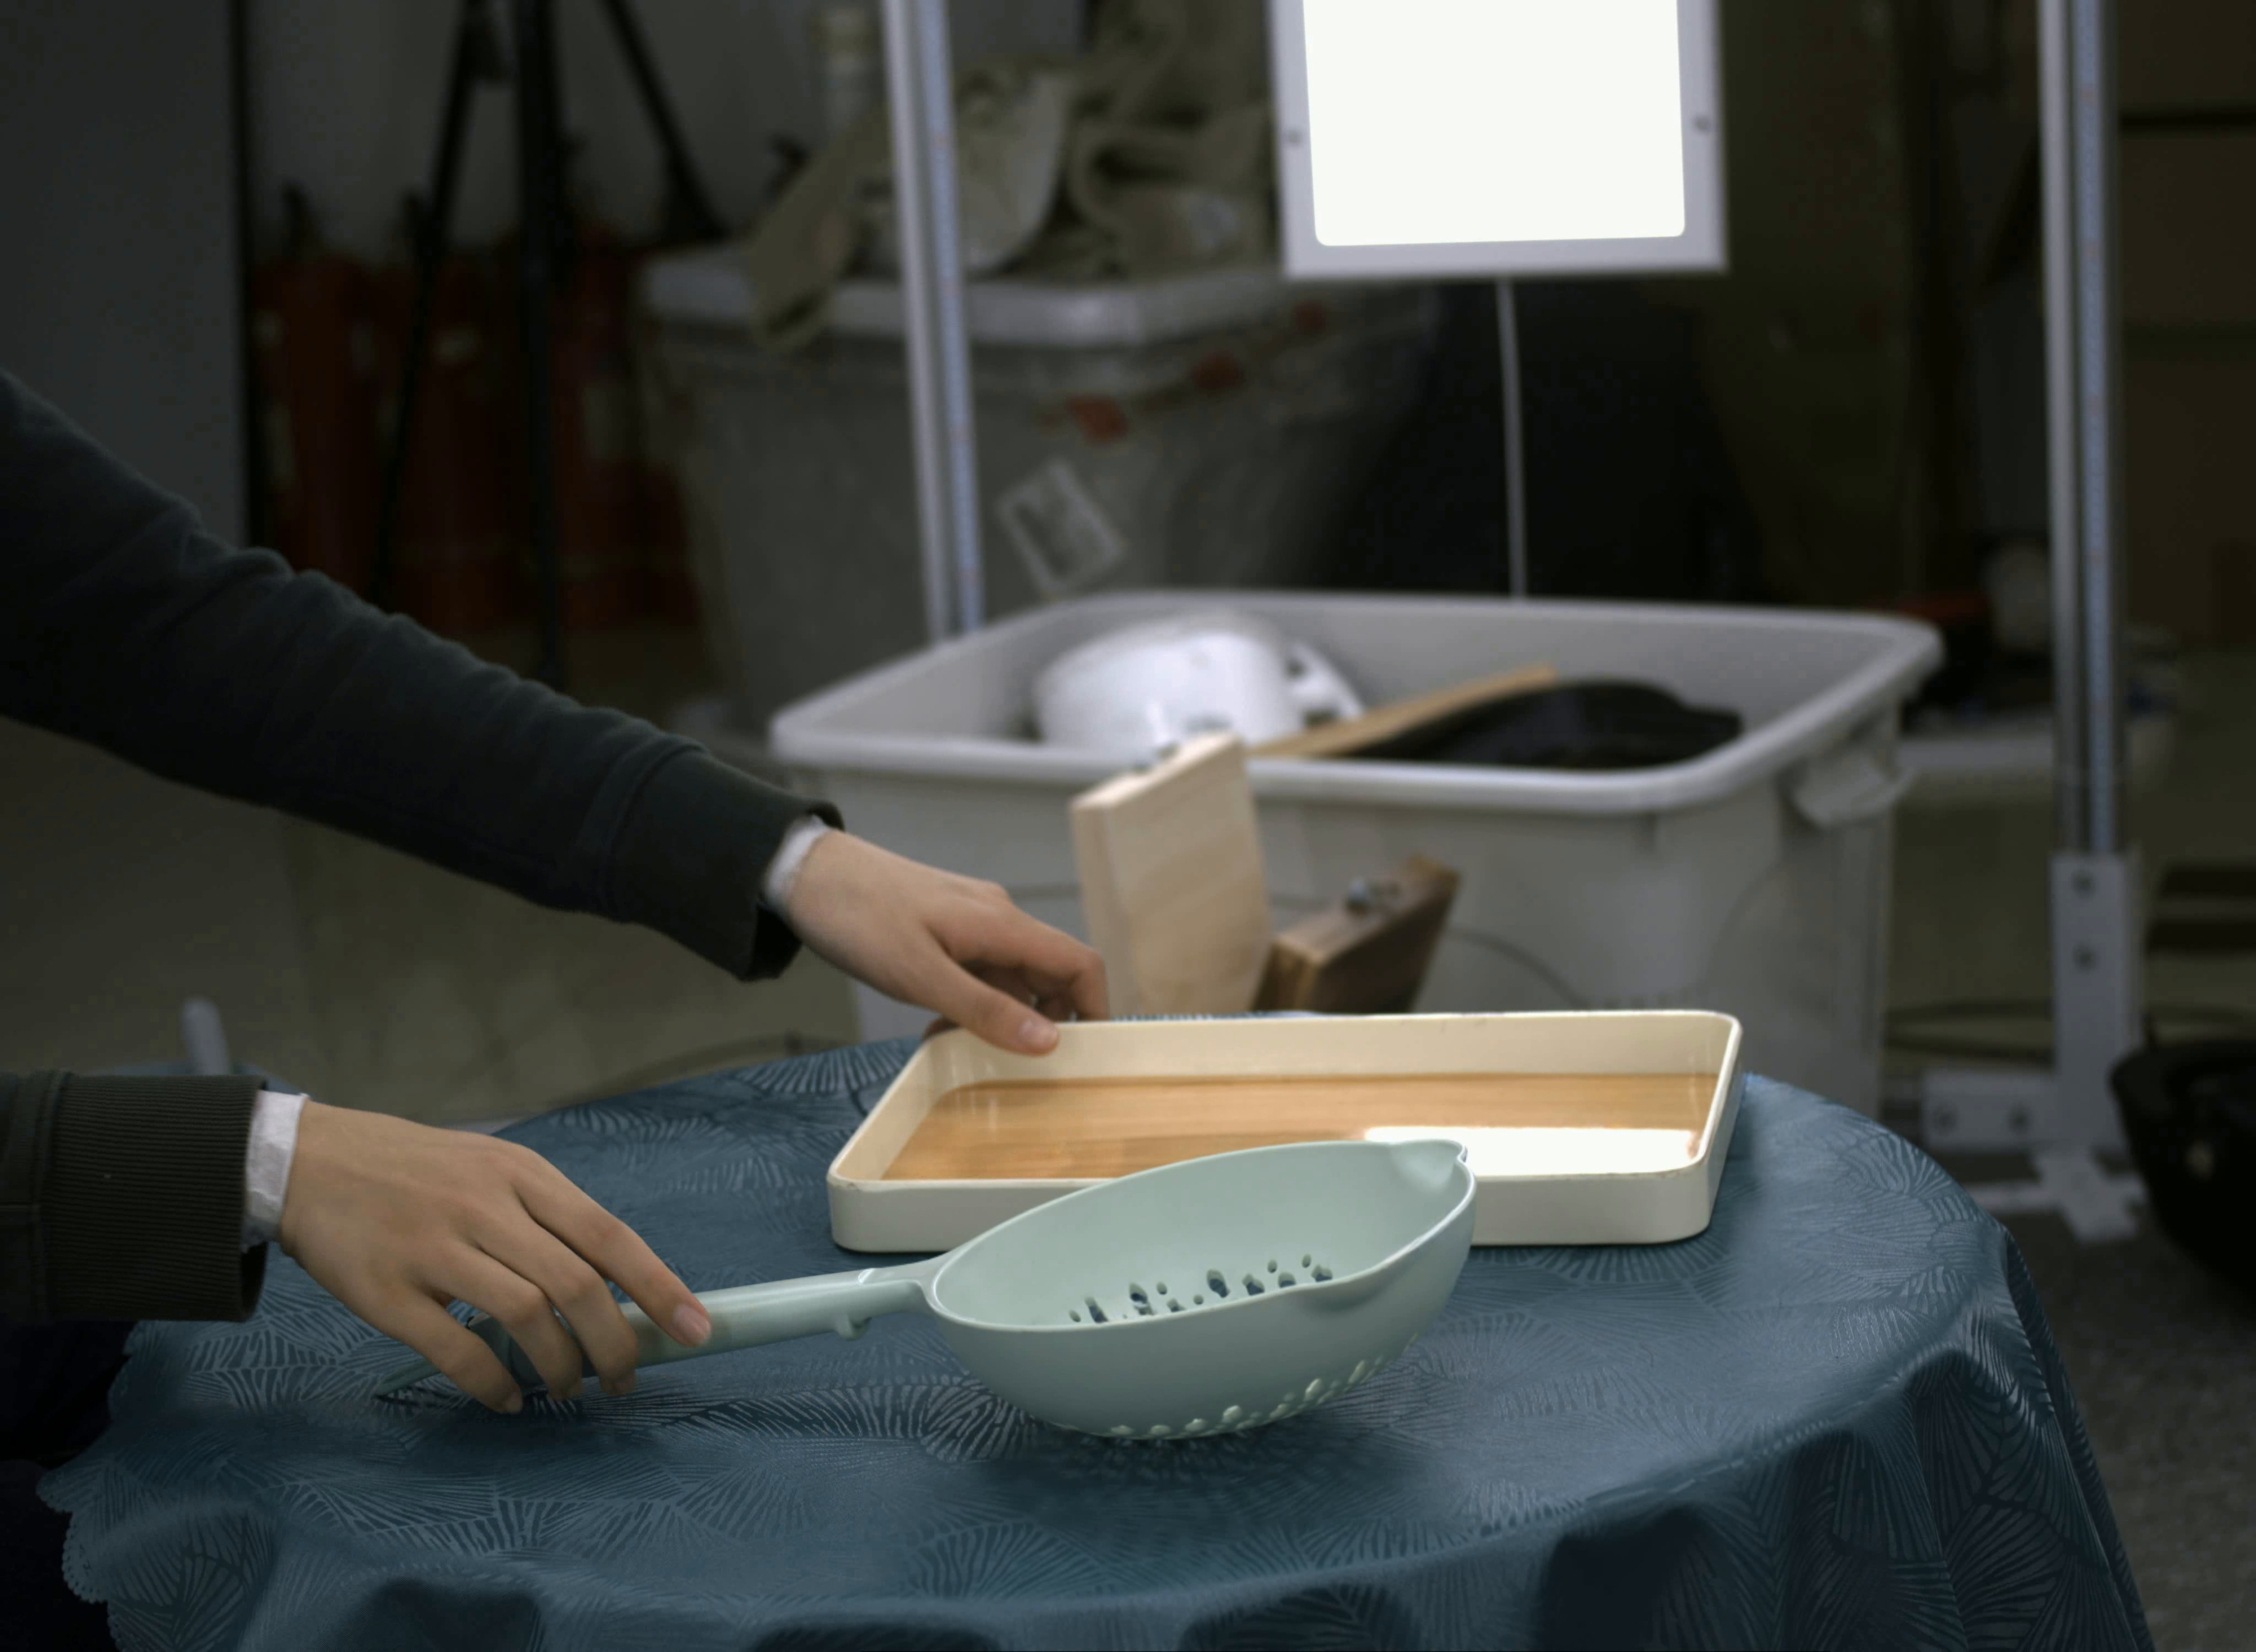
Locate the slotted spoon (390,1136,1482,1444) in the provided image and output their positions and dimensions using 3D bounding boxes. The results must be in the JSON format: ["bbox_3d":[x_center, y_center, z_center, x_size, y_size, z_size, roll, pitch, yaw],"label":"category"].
[{"bbox_3d":[-0.066,0.148,1.698,0.363,0.075,0.167,-1,14,18],"label":"slotted spoon"}]

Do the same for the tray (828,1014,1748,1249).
[{"bbox_3d":[0.060,0.105,1.908,0.303,0.027,0.189,-1,14,13],"label":"tray"}]
